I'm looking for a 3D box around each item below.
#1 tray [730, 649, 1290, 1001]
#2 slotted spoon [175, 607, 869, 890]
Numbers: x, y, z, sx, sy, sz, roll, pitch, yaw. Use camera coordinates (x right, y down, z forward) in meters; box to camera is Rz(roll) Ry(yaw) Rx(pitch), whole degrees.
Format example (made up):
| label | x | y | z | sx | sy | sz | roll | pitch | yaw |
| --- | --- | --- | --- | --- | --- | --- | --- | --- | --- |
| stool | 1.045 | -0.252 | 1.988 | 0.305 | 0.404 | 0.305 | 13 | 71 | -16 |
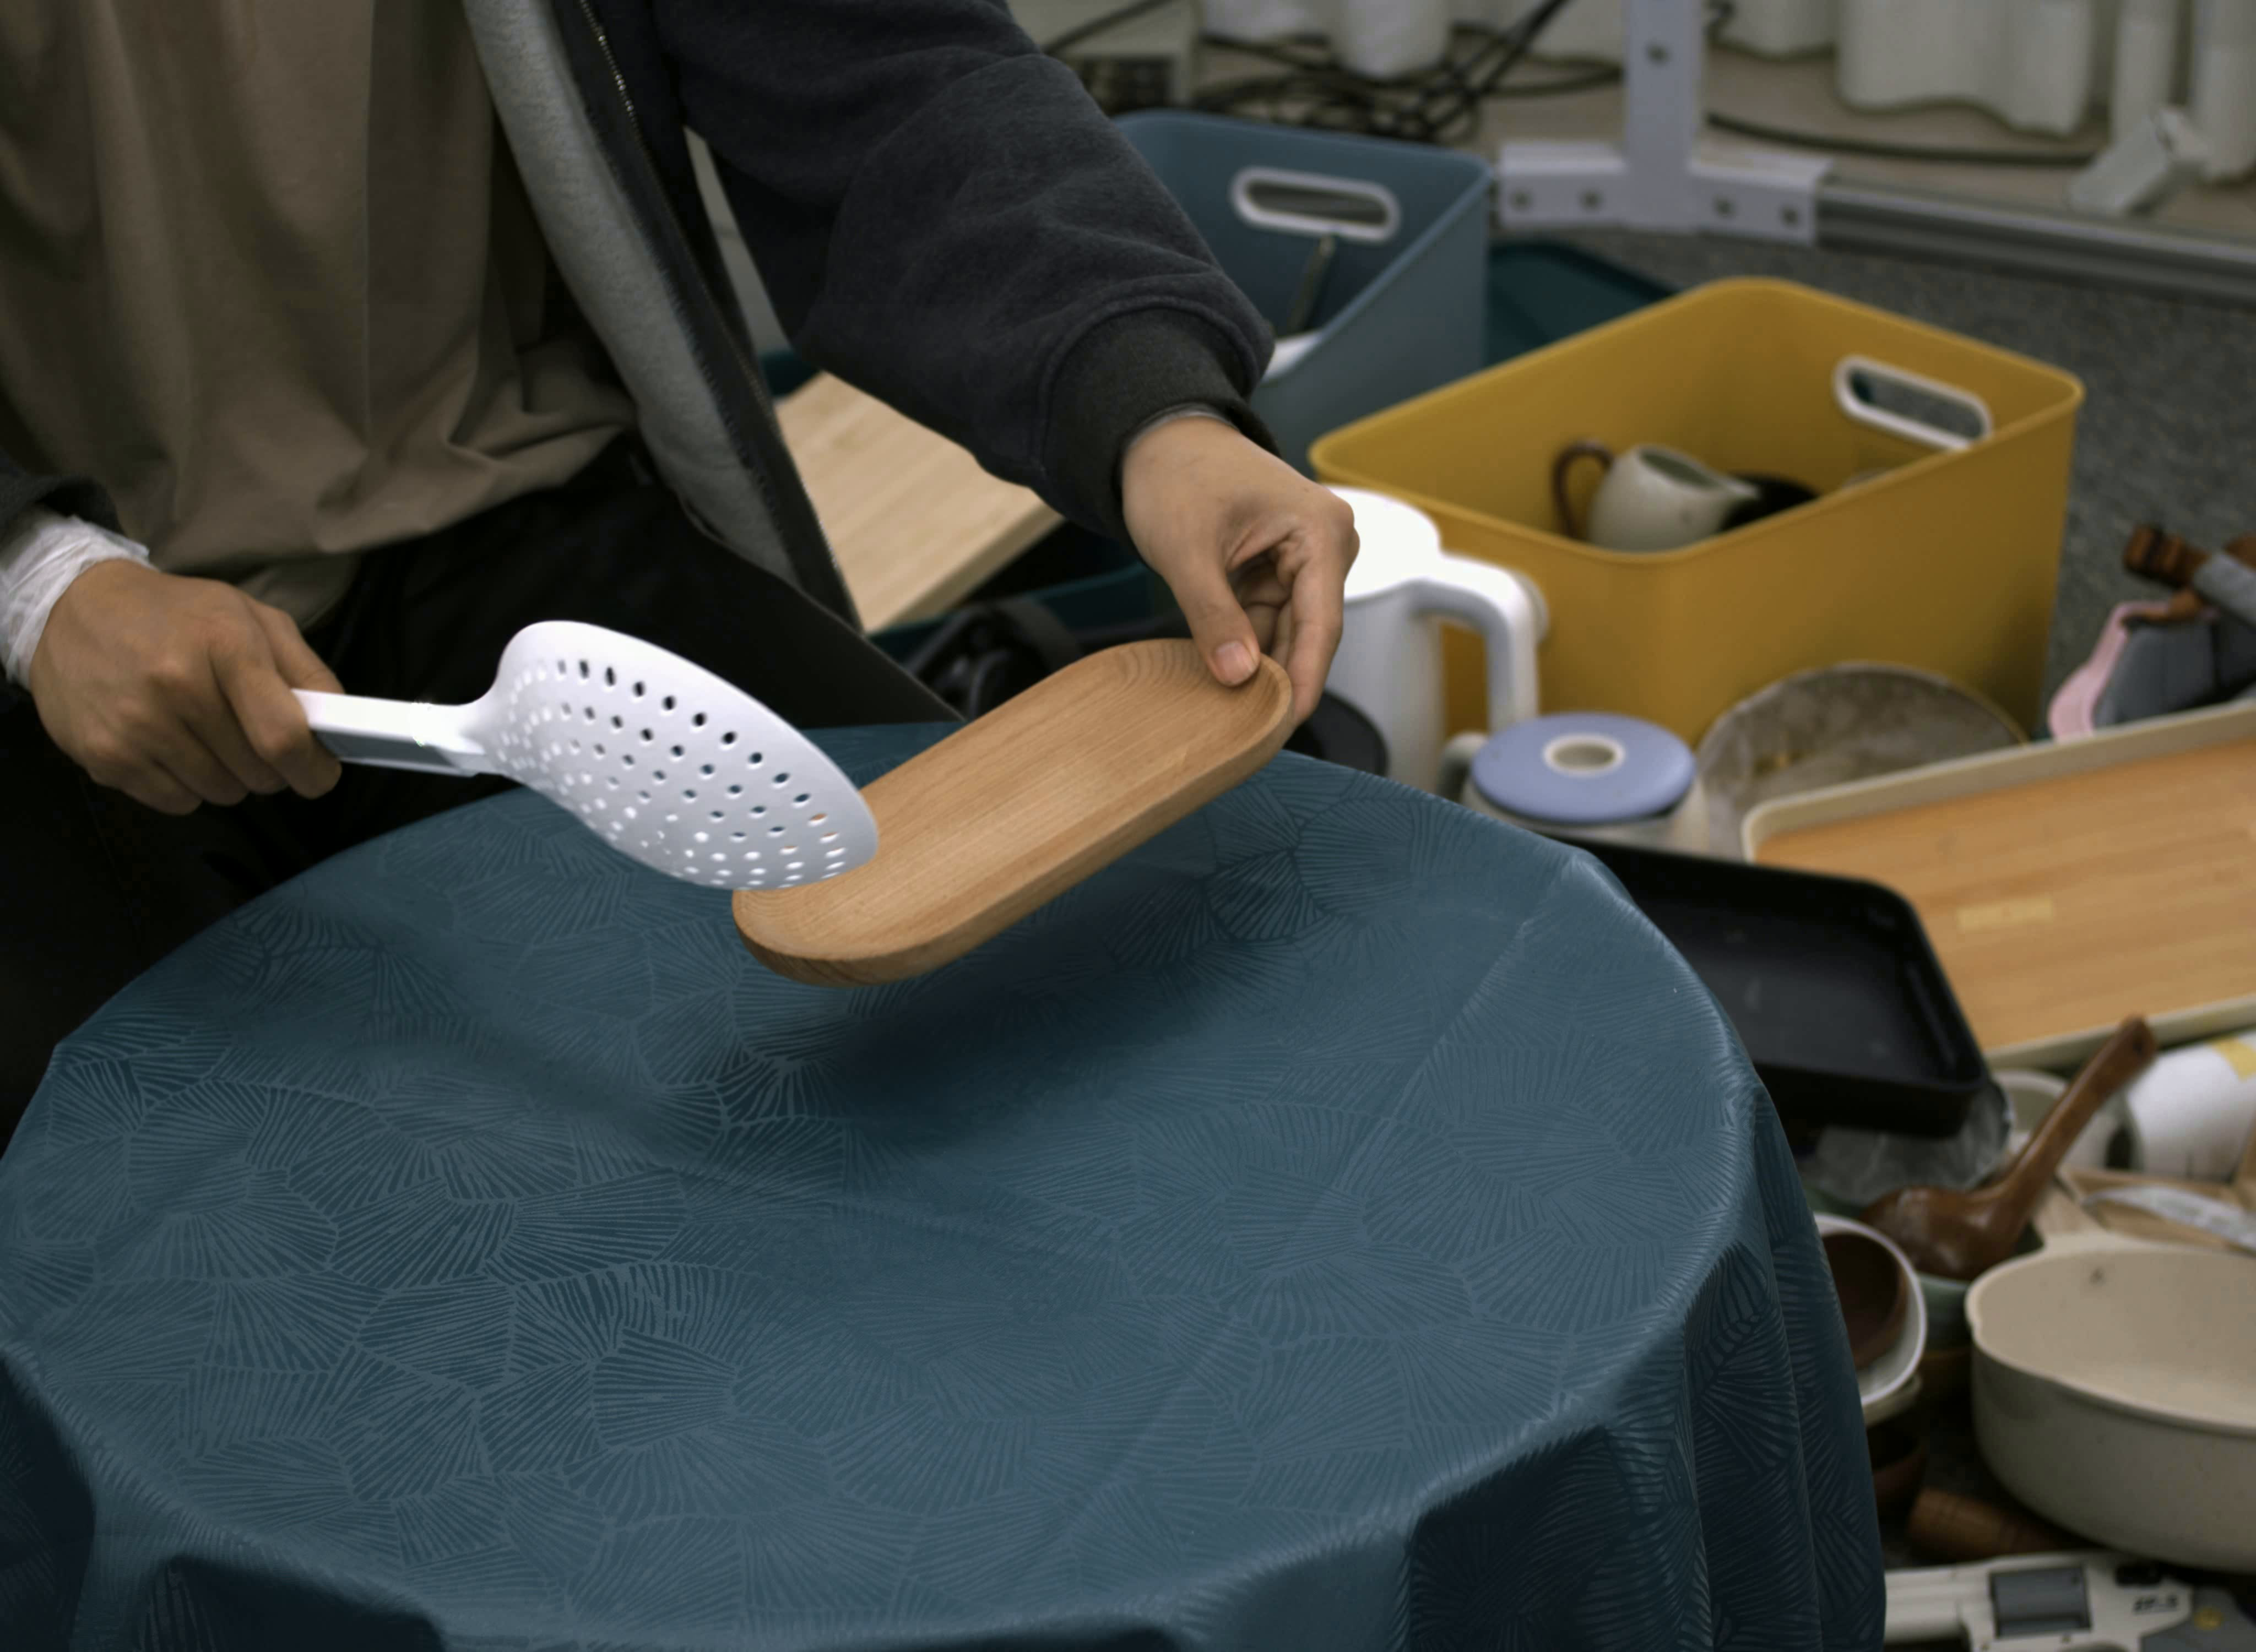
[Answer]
| label | x | y | z | sx | sy | sz | roll | pitch | yaw |
| --- | --- | --- | --- | --- | --- | --- | --- | --- | --- |
| tray | -0.039 | -0.002 | 1.963 | 0.234 | 0.020 | 0.101 | -33 | 37 | -32 |
| slotted spoon | -0.219 | -0.028 | 1.901 | 0.348 | 0.135 | 0.046 | 12 | 61 | 50 |
